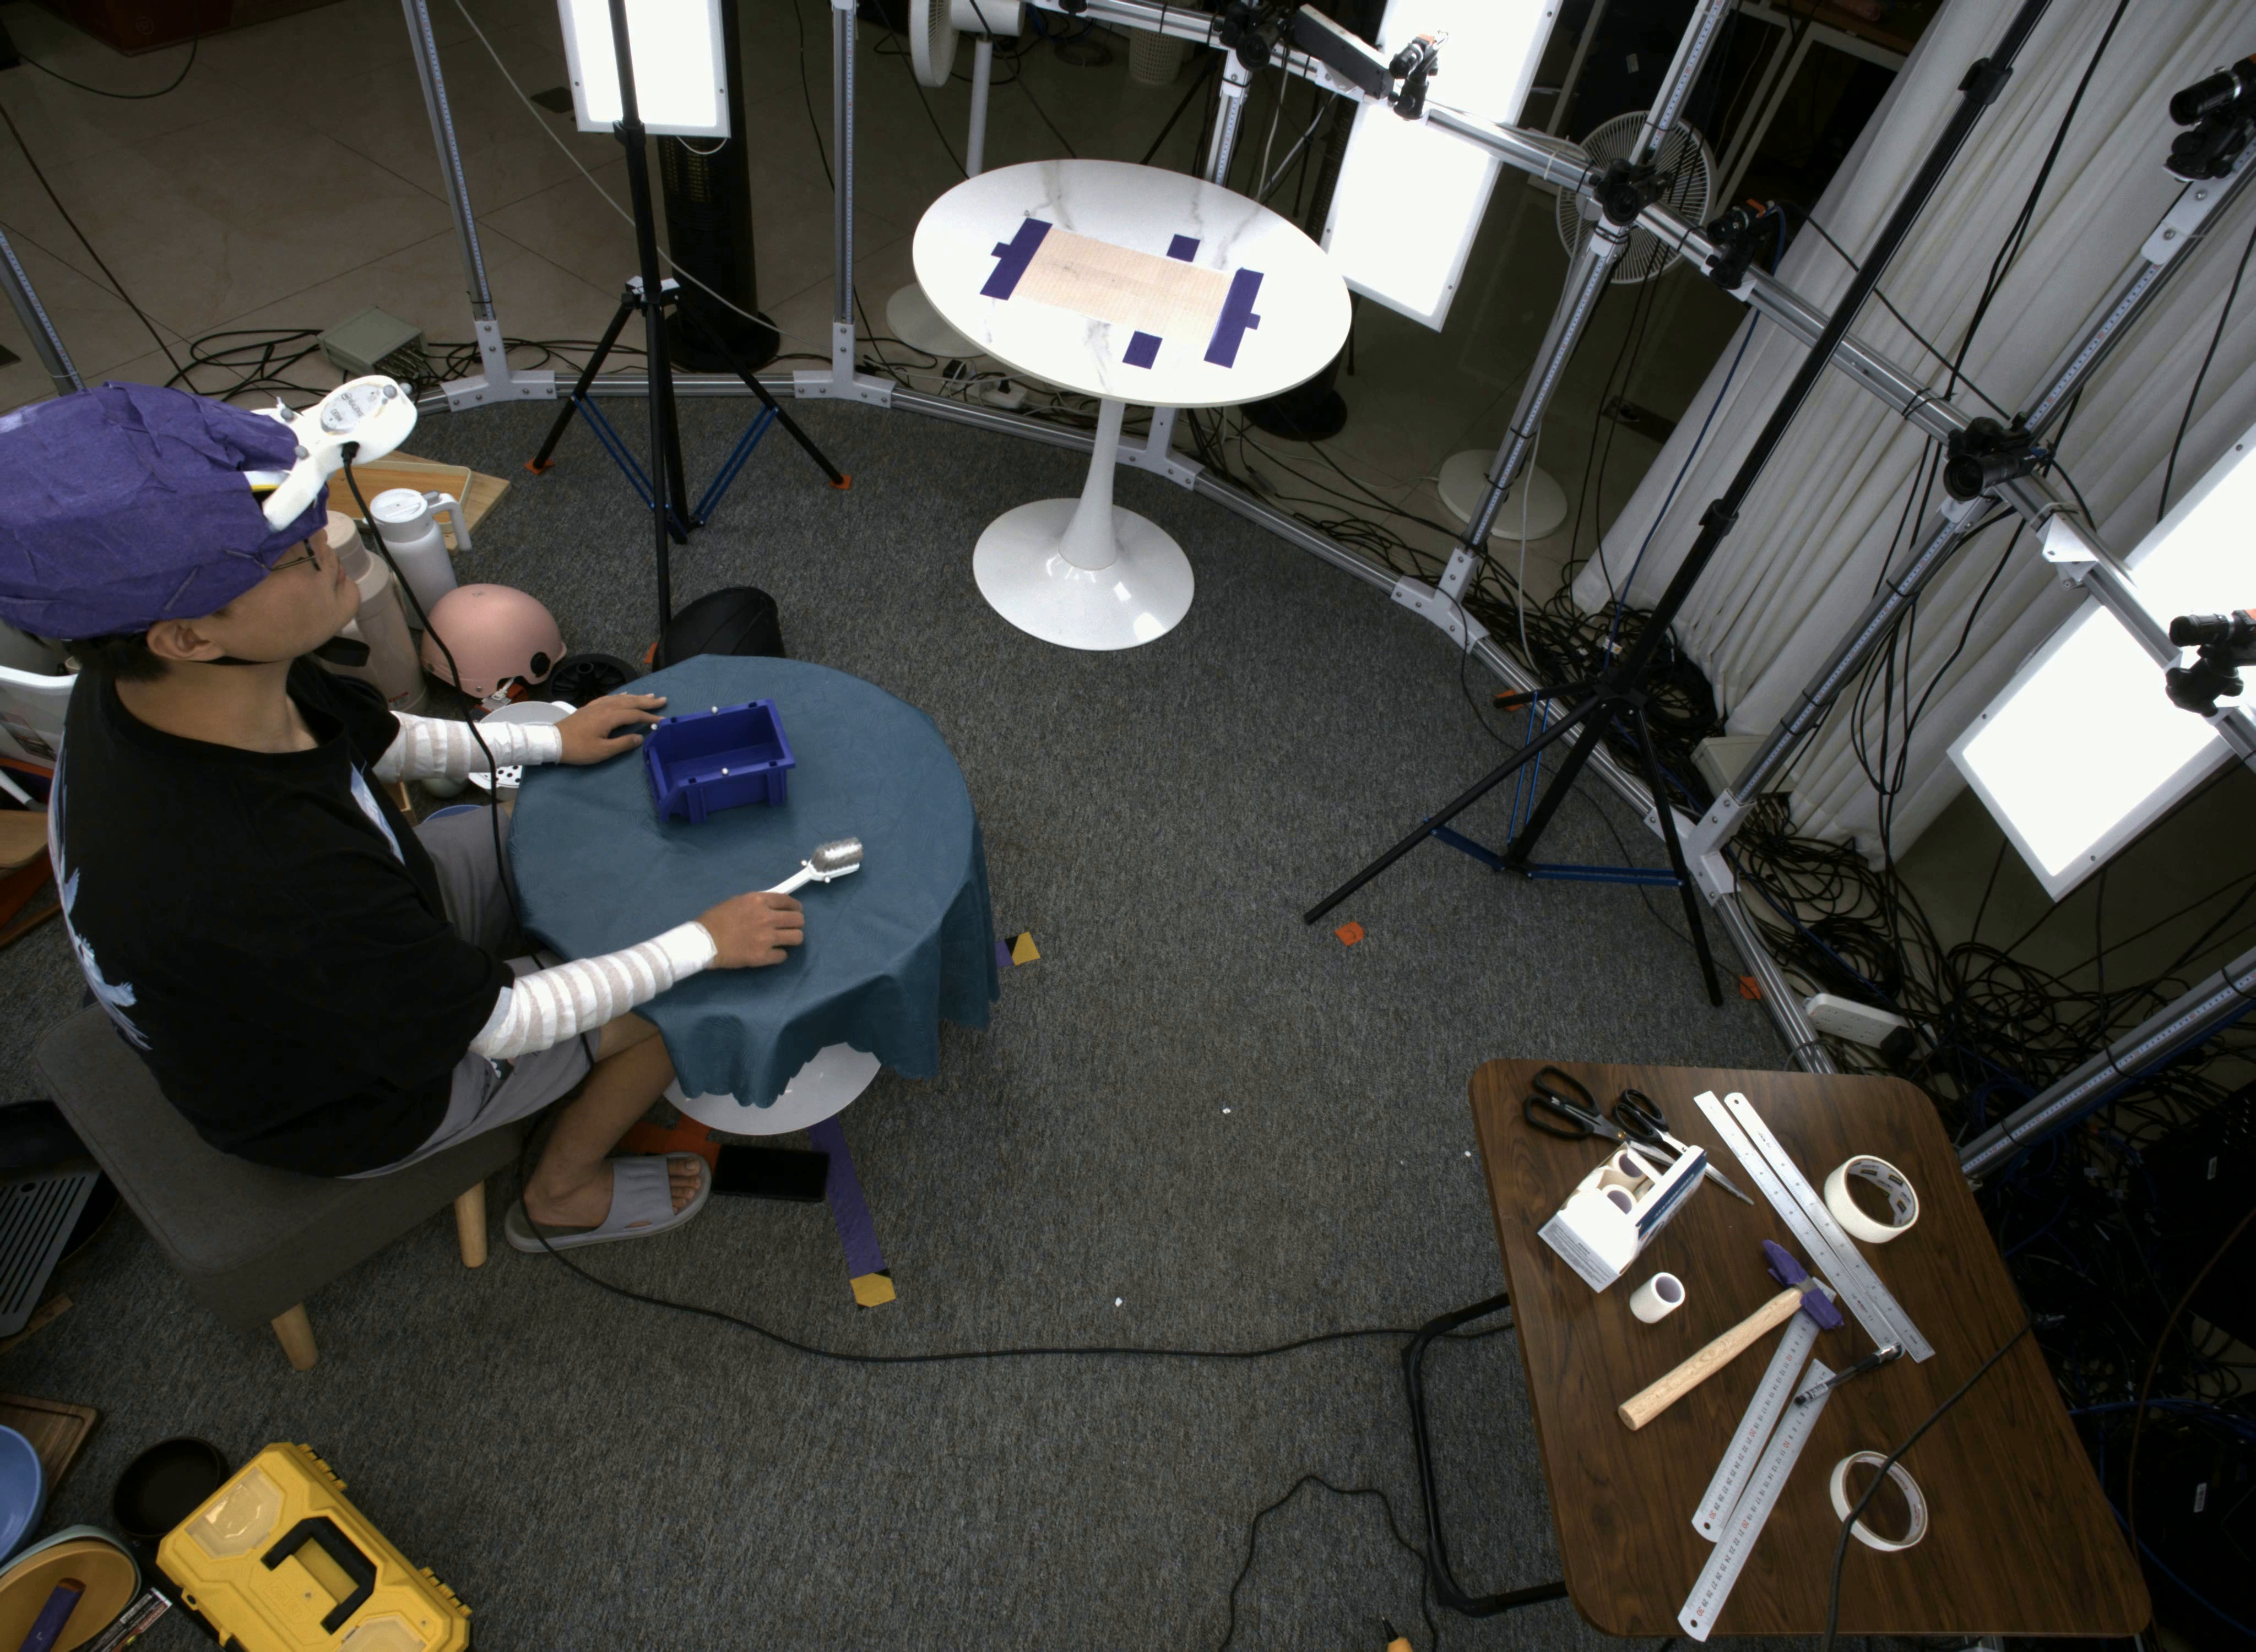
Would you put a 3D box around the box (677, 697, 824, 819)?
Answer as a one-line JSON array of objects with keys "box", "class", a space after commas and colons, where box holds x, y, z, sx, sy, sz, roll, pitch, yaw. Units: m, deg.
[{"box": [-0.506, -0.088, 1.727, 0.180, 0.083, 0.121, -10, 57, -22], "class": "box"}]

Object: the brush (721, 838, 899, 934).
[{"box": [-0.405, 0.071, 1.654, 0.245, 0.051, 0.033, -23, 60, -28], "class": "brush"}]
